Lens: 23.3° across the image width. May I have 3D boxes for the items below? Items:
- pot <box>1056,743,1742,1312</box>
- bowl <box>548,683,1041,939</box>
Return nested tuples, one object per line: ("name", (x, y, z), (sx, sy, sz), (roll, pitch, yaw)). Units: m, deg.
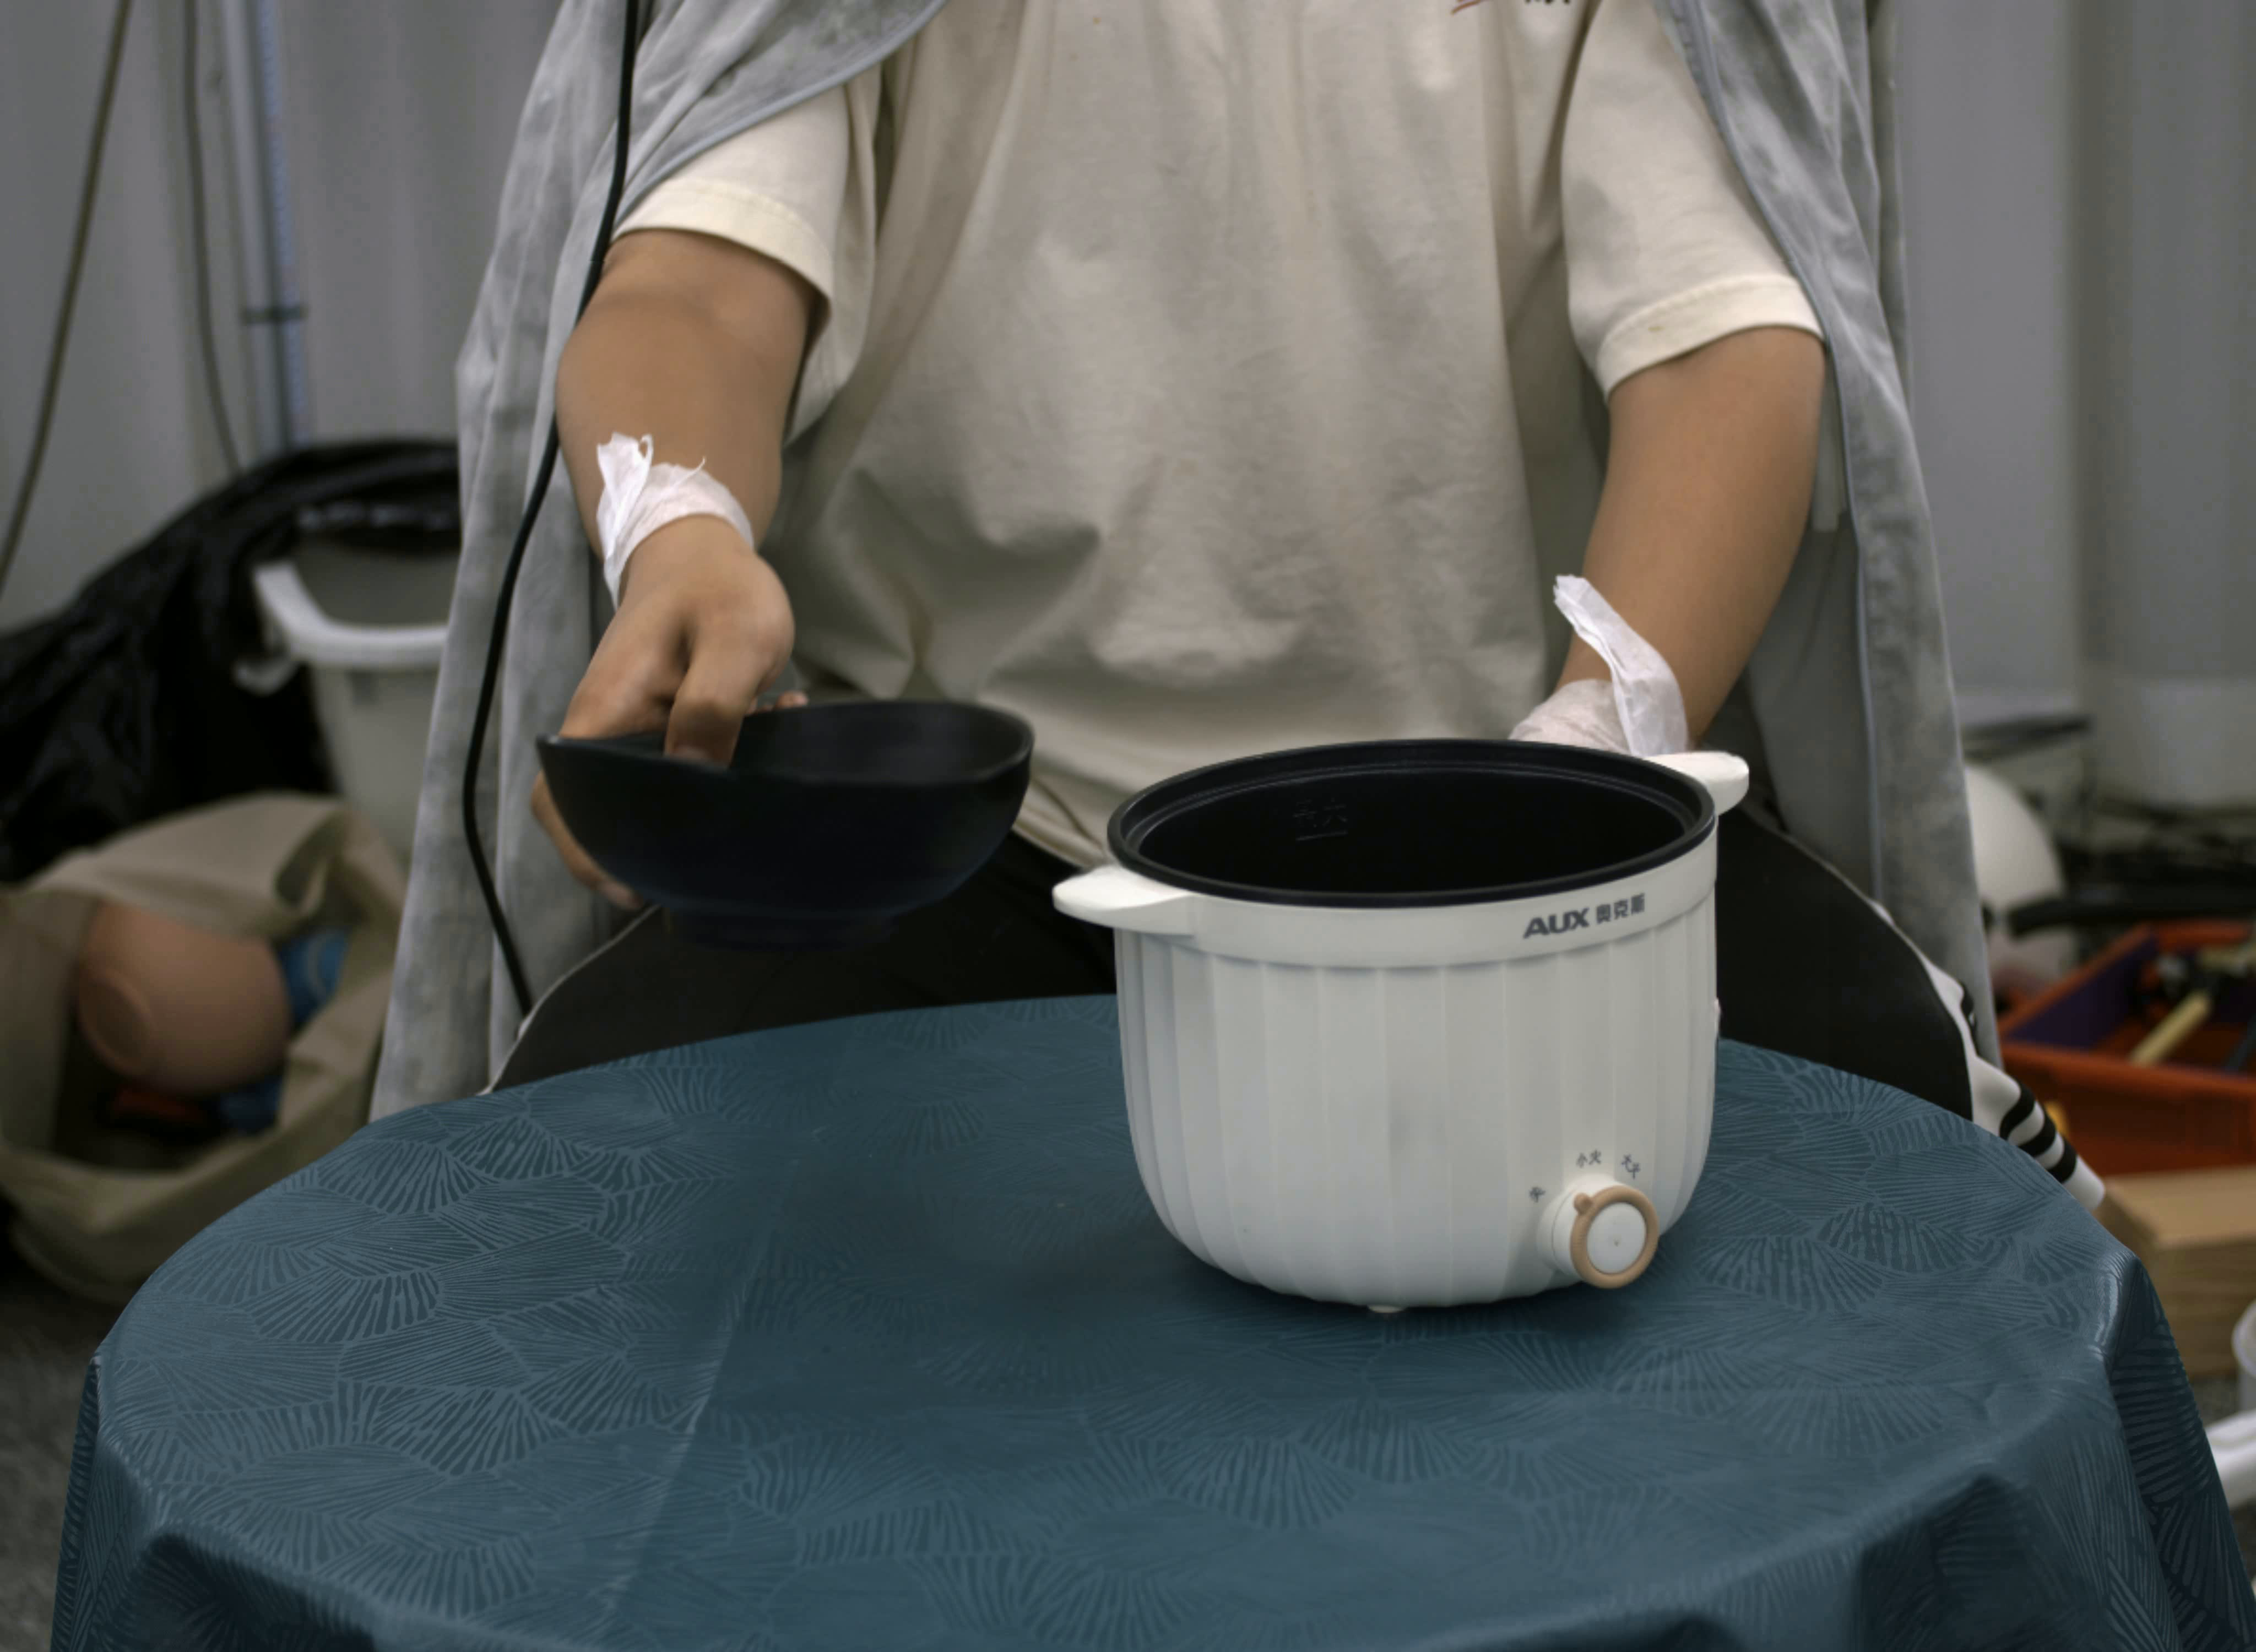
("pot", (0.091, 0.061, 1.636), (0.239, 0.142, 0.191), (-12, 14, -30))
("bowl", (-0.100, -0.004, 1.625), (0.137, 0.066, 0.171), (-8, 11, -39))
